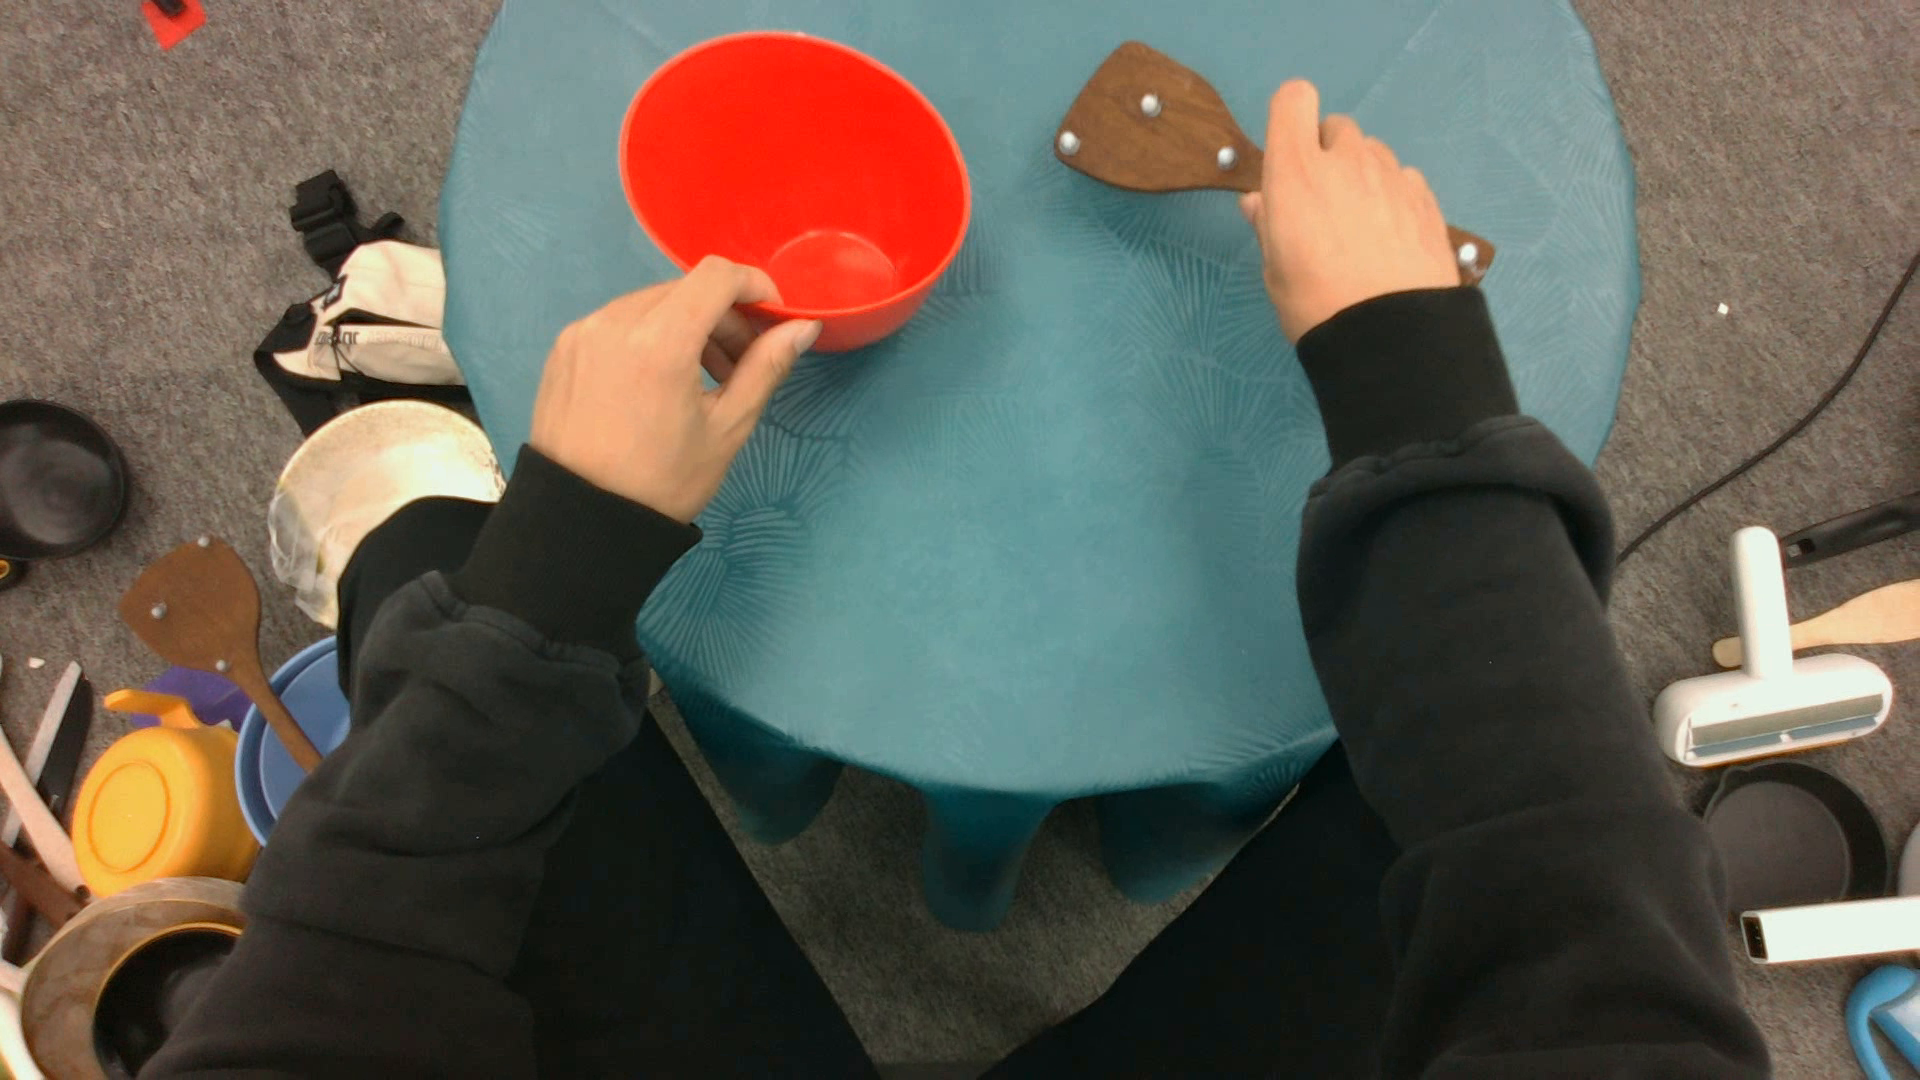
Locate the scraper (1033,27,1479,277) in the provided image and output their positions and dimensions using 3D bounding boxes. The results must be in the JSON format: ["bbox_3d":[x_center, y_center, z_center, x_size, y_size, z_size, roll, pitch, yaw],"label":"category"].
[{"bbox_3d":[0.134,-0.171,0.627,0.211,0.011,0.076,31,80,21],"label":"scraper"}]

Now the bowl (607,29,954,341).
[{"bbox_3d":[-0.078,-0.147,0.629,0.148,0.104,0.148,2,63,-4],"label":"bowl"}]
